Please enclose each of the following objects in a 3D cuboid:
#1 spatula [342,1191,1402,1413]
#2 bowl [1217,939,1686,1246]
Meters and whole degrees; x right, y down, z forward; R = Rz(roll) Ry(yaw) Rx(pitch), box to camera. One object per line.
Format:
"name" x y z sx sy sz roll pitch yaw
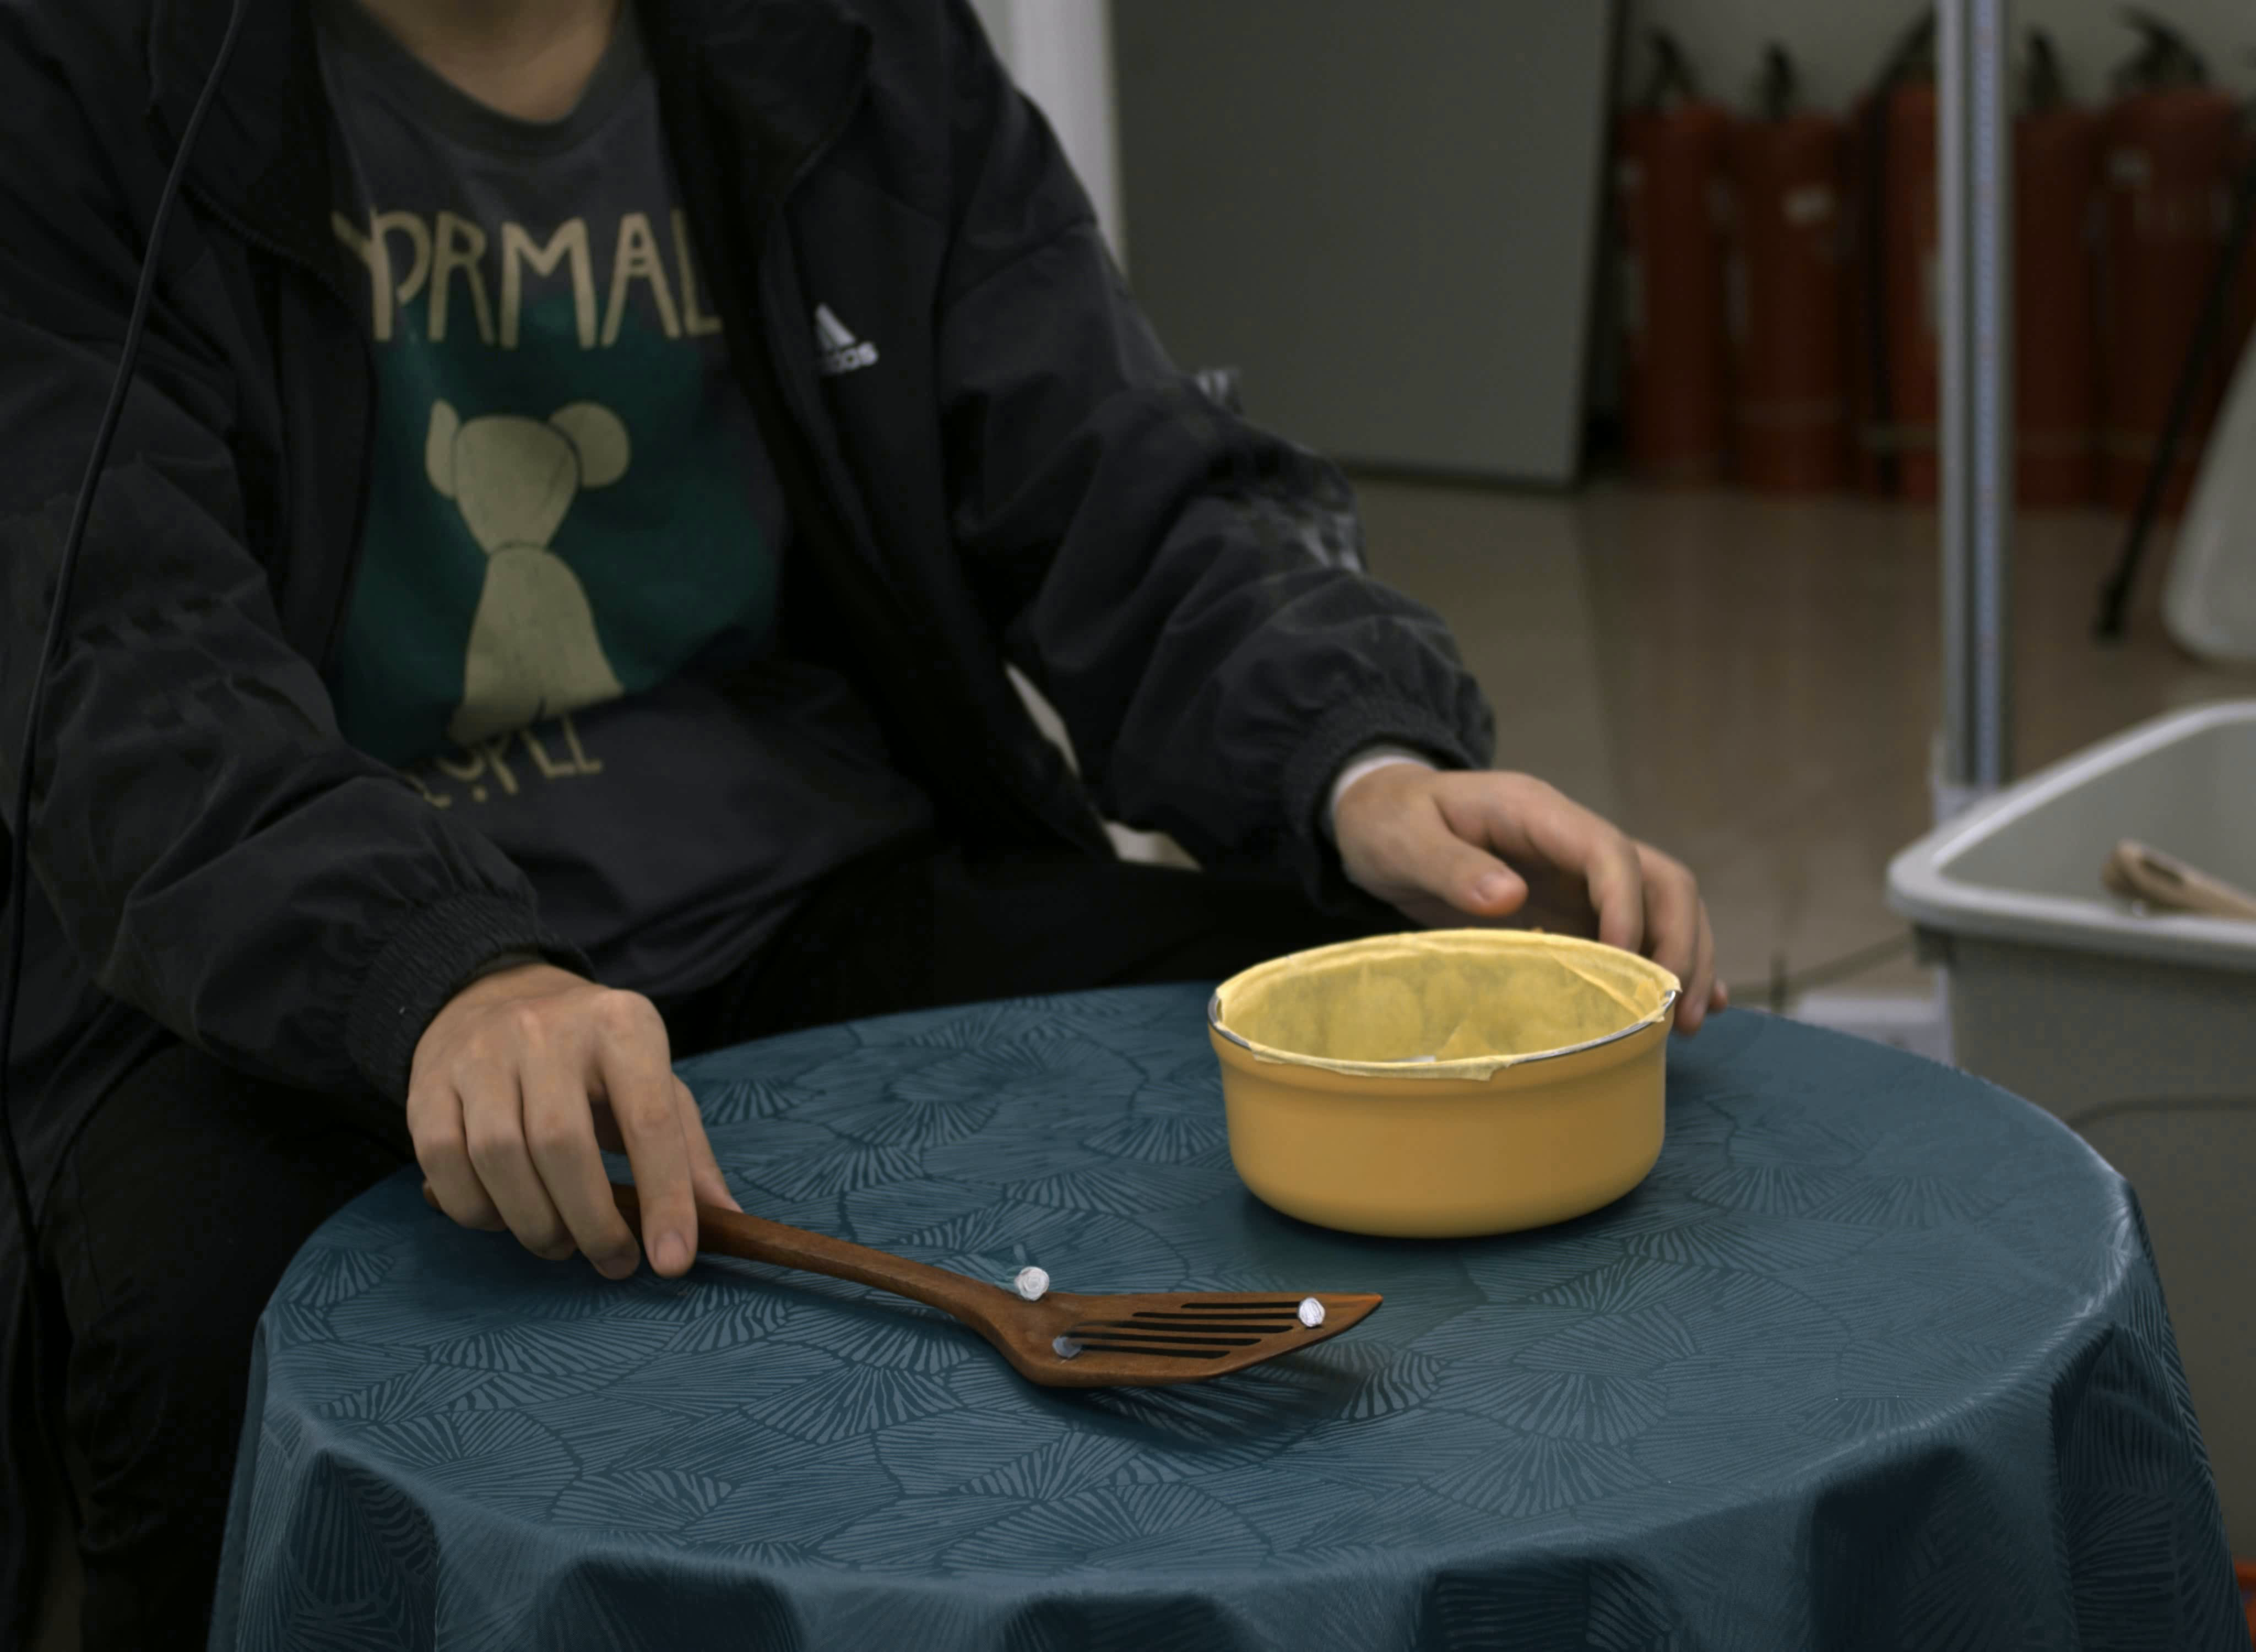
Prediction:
"spatula" -0.093 0.149 1.674 0.388 0.024 0.084 8 9 32
"bowl" 0.108 0.085 1.757 0.152 0.075 0.178 0 14 12
